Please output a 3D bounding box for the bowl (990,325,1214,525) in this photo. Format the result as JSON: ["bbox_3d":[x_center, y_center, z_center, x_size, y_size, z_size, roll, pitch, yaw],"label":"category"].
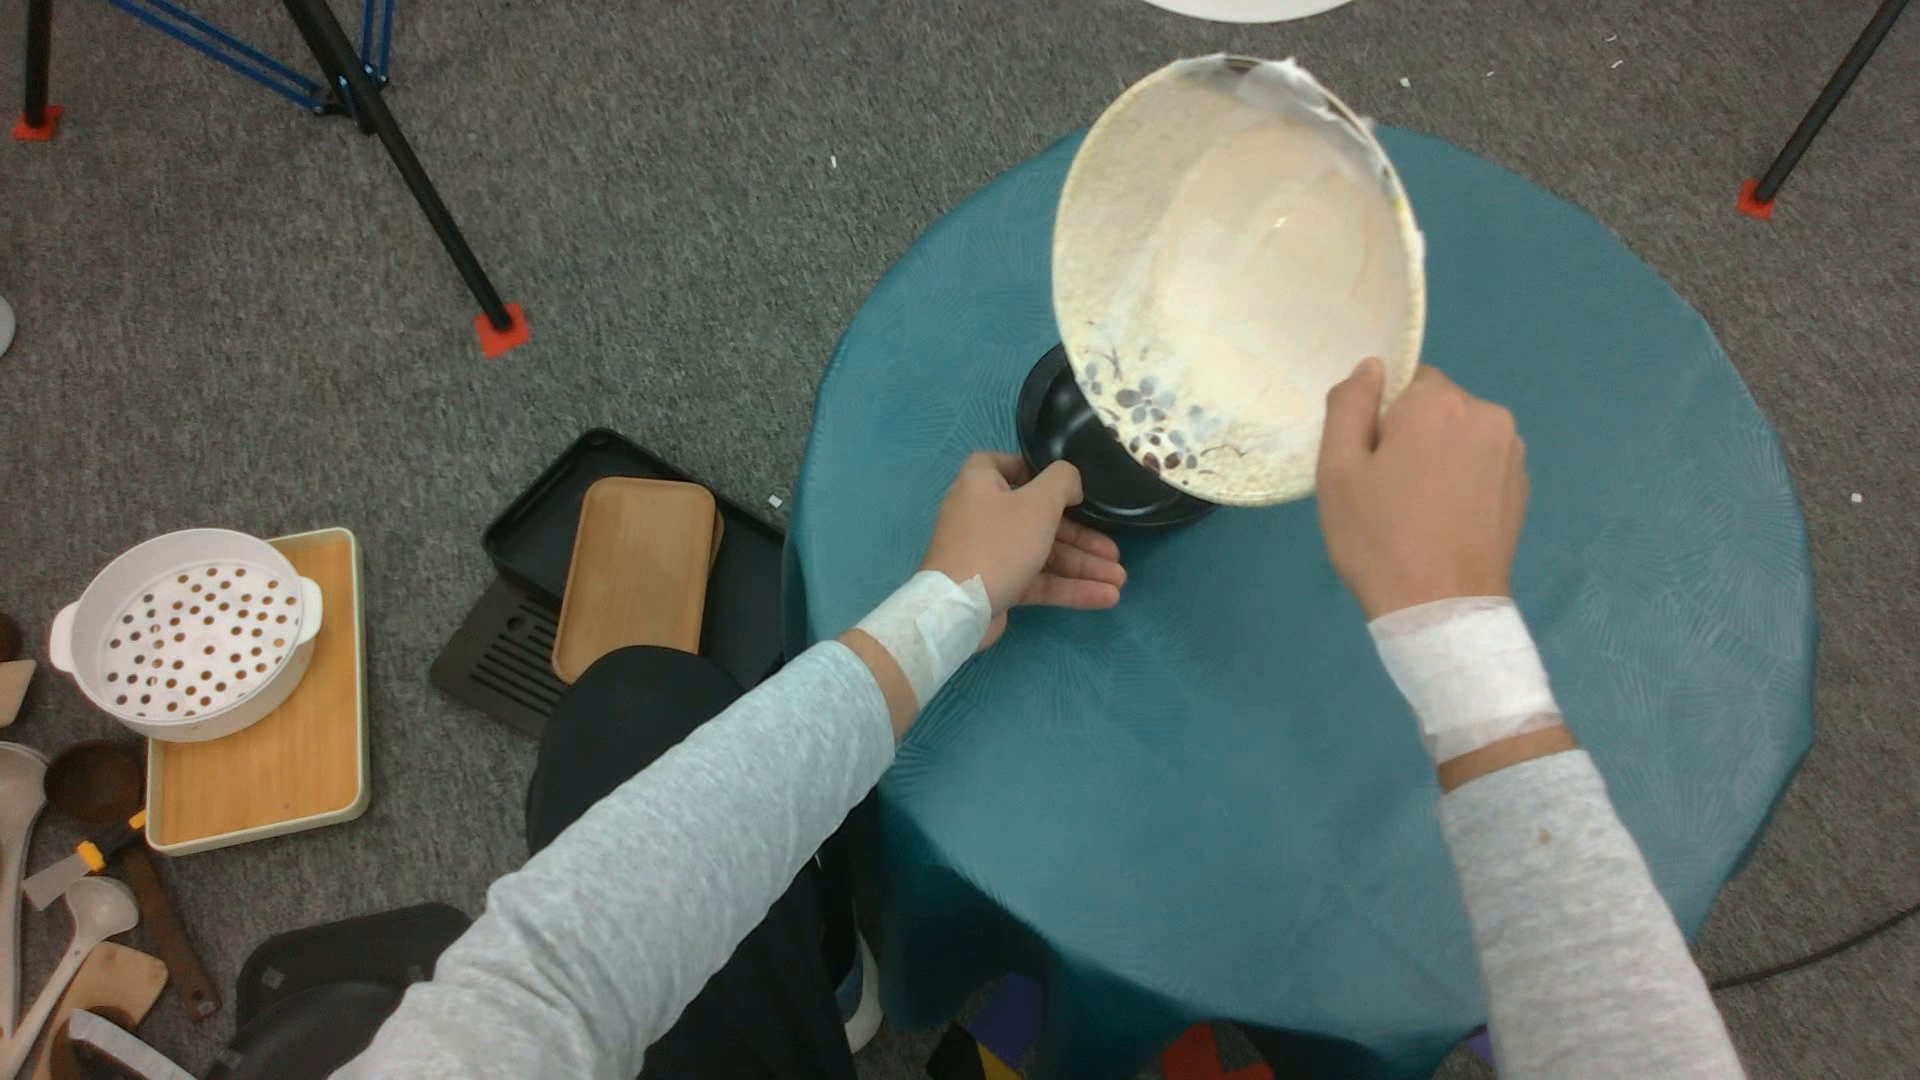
[{"bbox_3d":[0.086,-0.065,0.809,0.140,0.049,0.140,0,65,-1],"label":"bowl"}]

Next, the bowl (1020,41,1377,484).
[{"bbox_3d":[0.126,-0.135,0.656,0.078,0.203,0.204,-25,66,-38],"label":"bowl"}]
